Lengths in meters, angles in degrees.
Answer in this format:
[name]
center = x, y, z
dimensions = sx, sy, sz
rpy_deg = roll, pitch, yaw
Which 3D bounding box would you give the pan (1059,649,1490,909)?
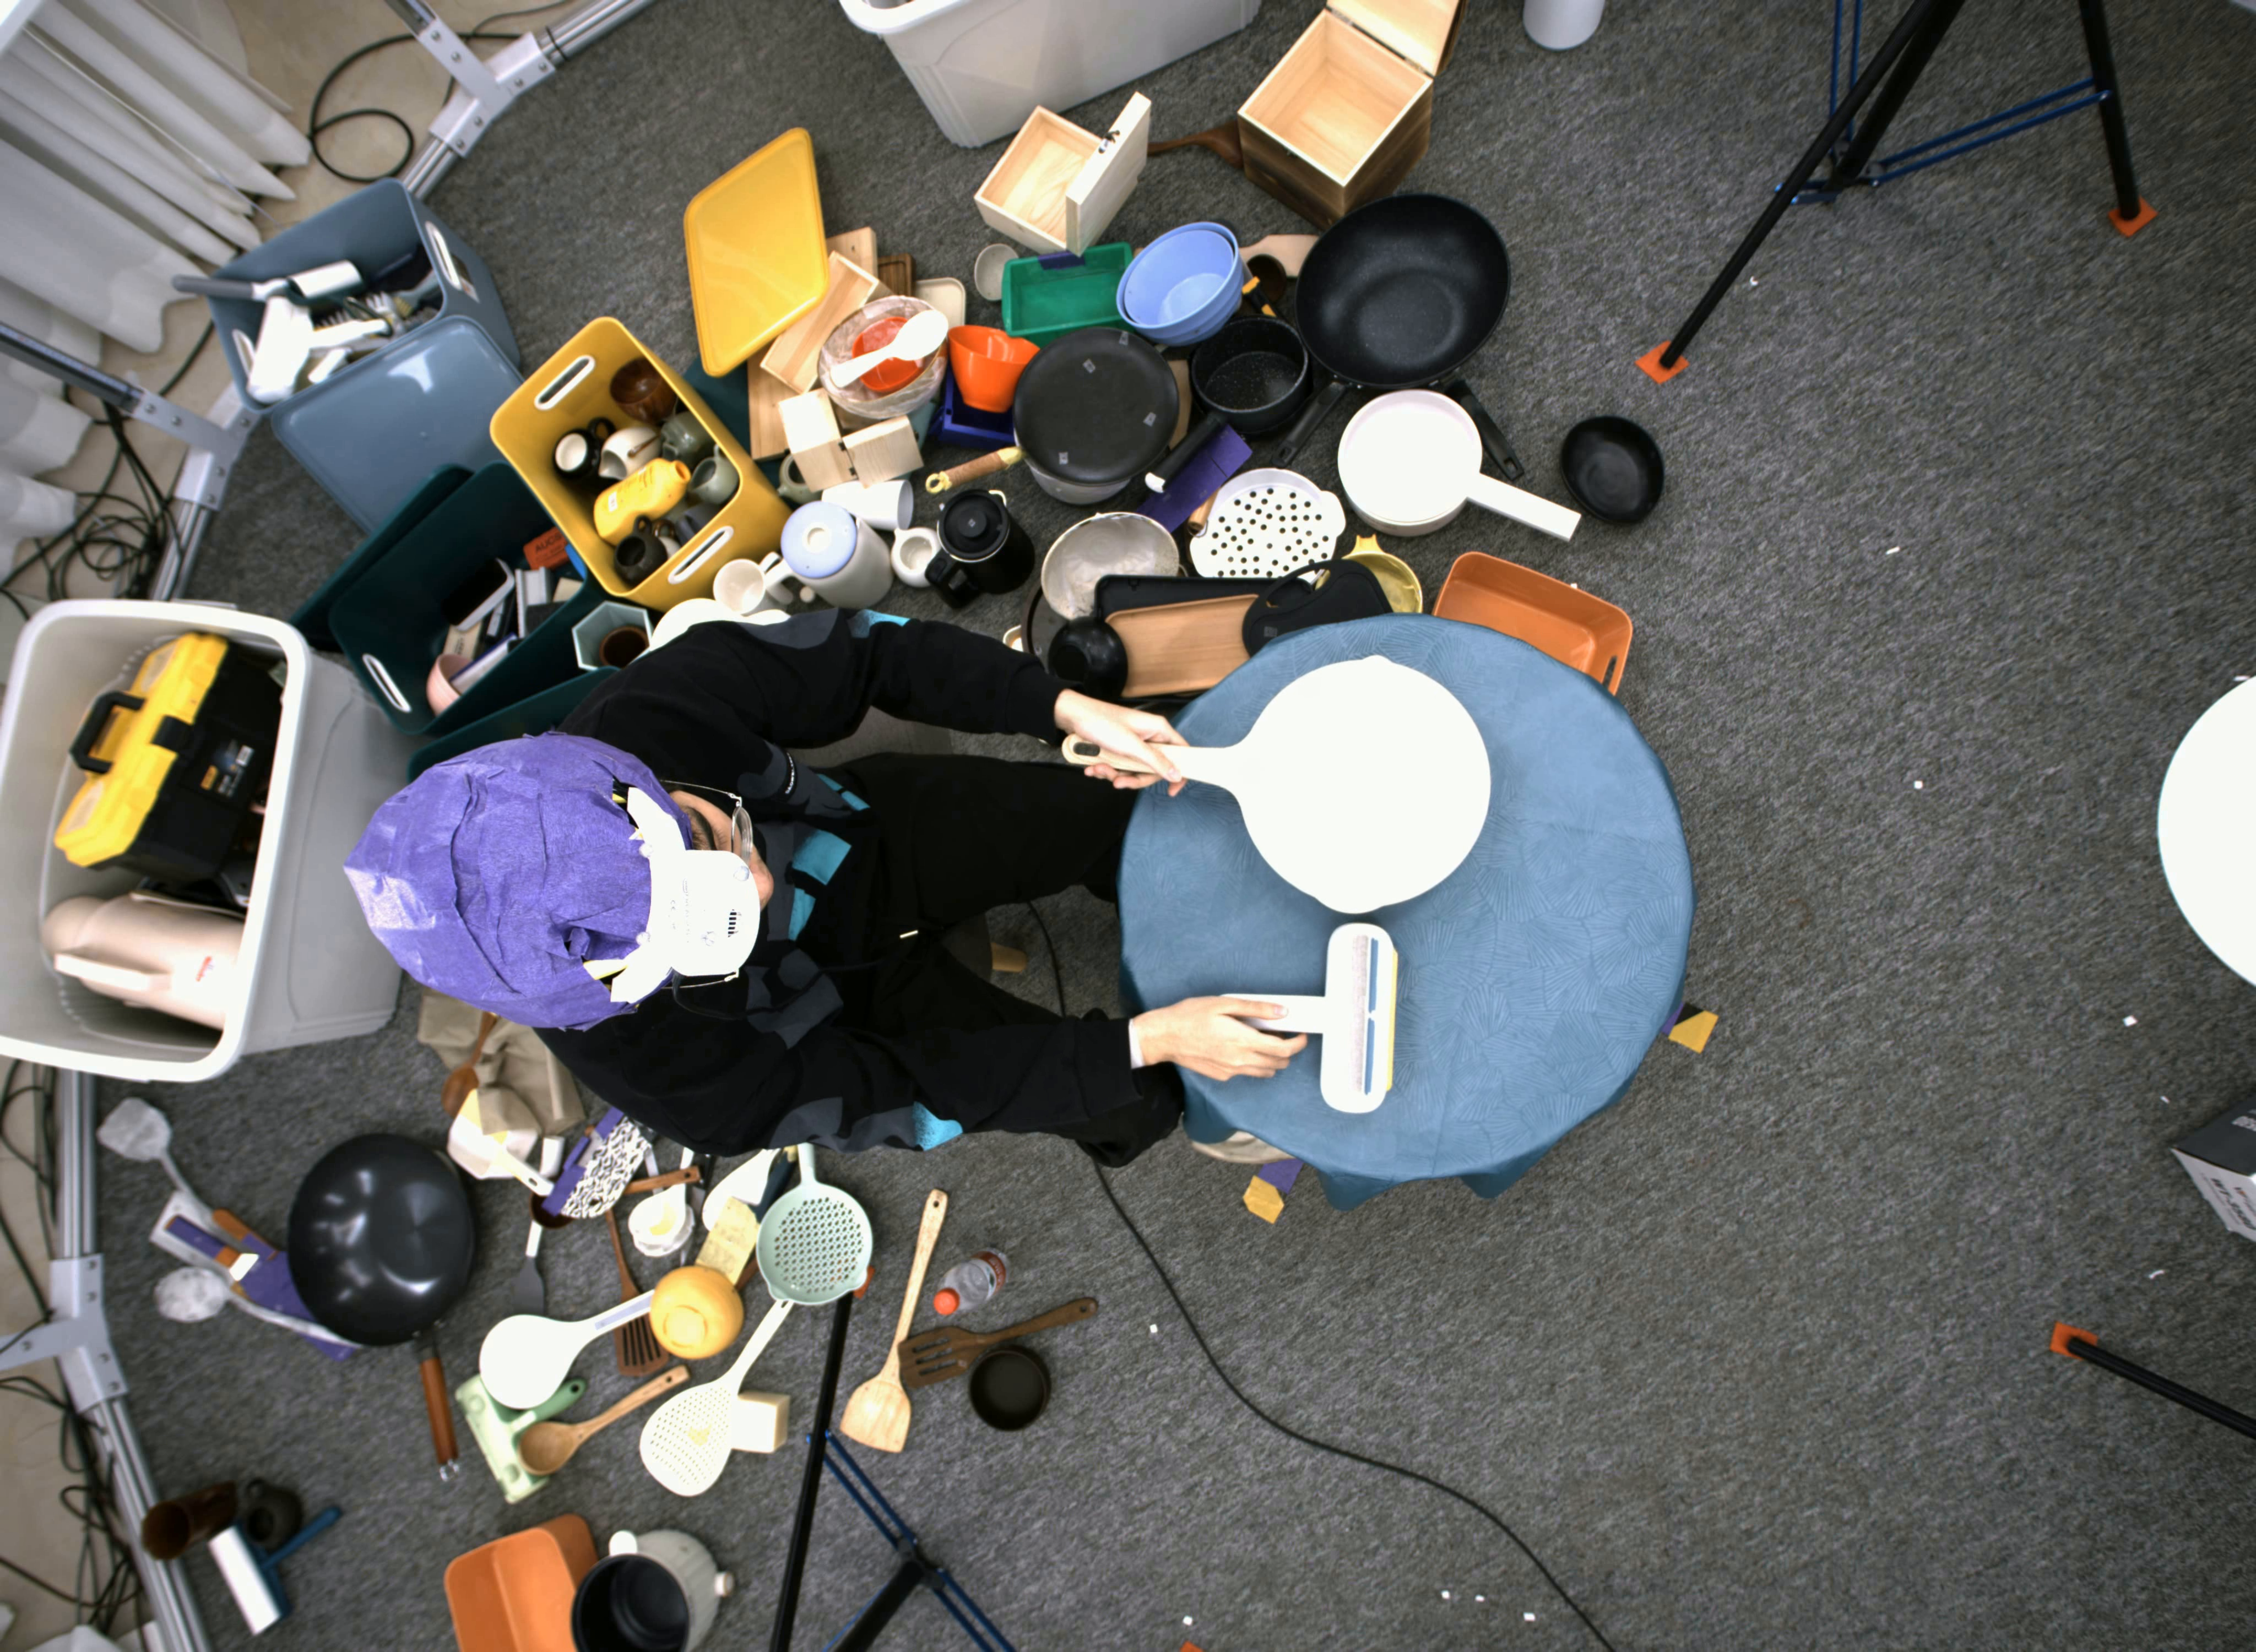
[pan]
center = 0.151, -0.057, 1.433
dimensions = 0.436, 0.102, 0.263
rpy_deg = 6, 90, 10

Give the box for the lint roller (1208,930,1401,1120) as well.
[lint roller]
center = 0.177, 0.196, 1.429
dimensions = 0.193, 0.074, 0.191
rpy_deg = 7, 83, 9
